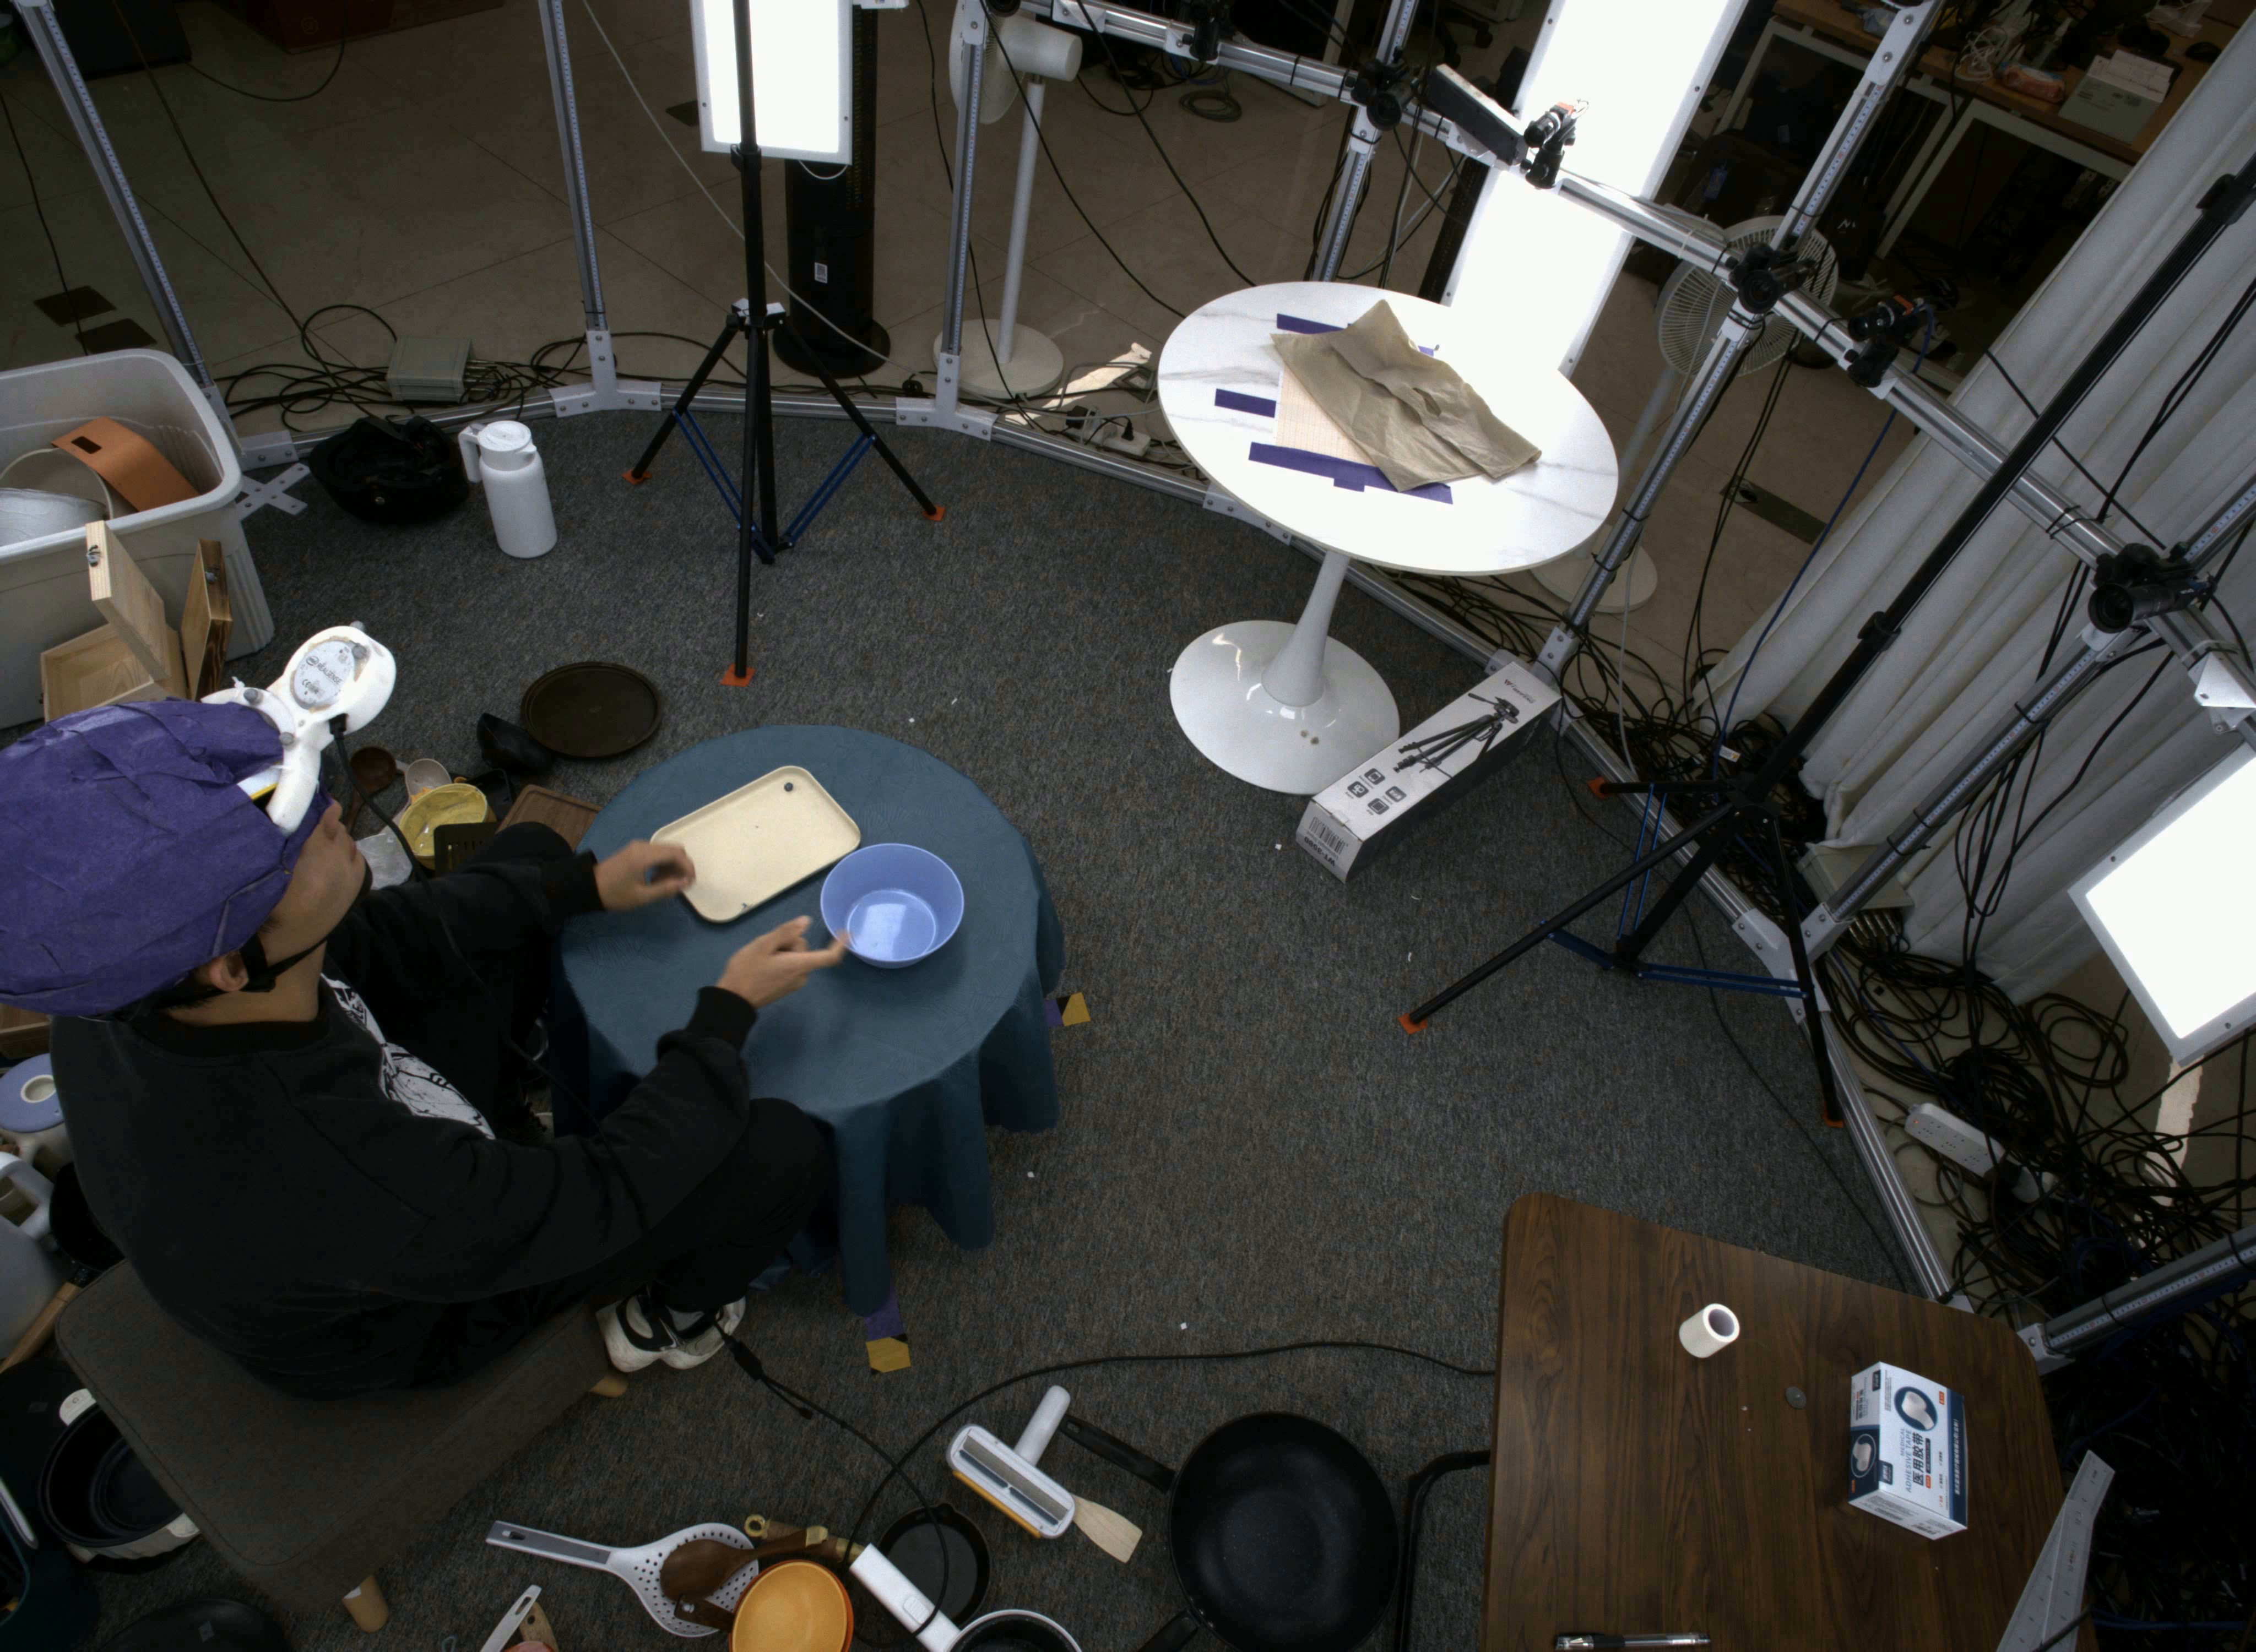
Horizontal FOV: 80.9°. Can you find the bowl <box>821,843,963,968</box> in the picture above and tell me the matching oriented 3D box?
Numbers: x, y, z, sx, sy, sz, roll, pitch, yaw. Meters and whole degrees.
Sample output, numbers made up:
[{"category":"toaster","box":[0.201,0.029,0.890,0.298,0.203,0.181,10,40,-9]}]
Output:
[{"category":"bowl","box":[-0.295,0.110,1.635,0.175,0.072,0.173,7,52,-8]}]

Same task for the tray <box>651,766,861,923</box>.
[{"category":"tray","box":[-0.483,0.021,1.687,0.240,0.018,0.167,-33,67,-32]}]
